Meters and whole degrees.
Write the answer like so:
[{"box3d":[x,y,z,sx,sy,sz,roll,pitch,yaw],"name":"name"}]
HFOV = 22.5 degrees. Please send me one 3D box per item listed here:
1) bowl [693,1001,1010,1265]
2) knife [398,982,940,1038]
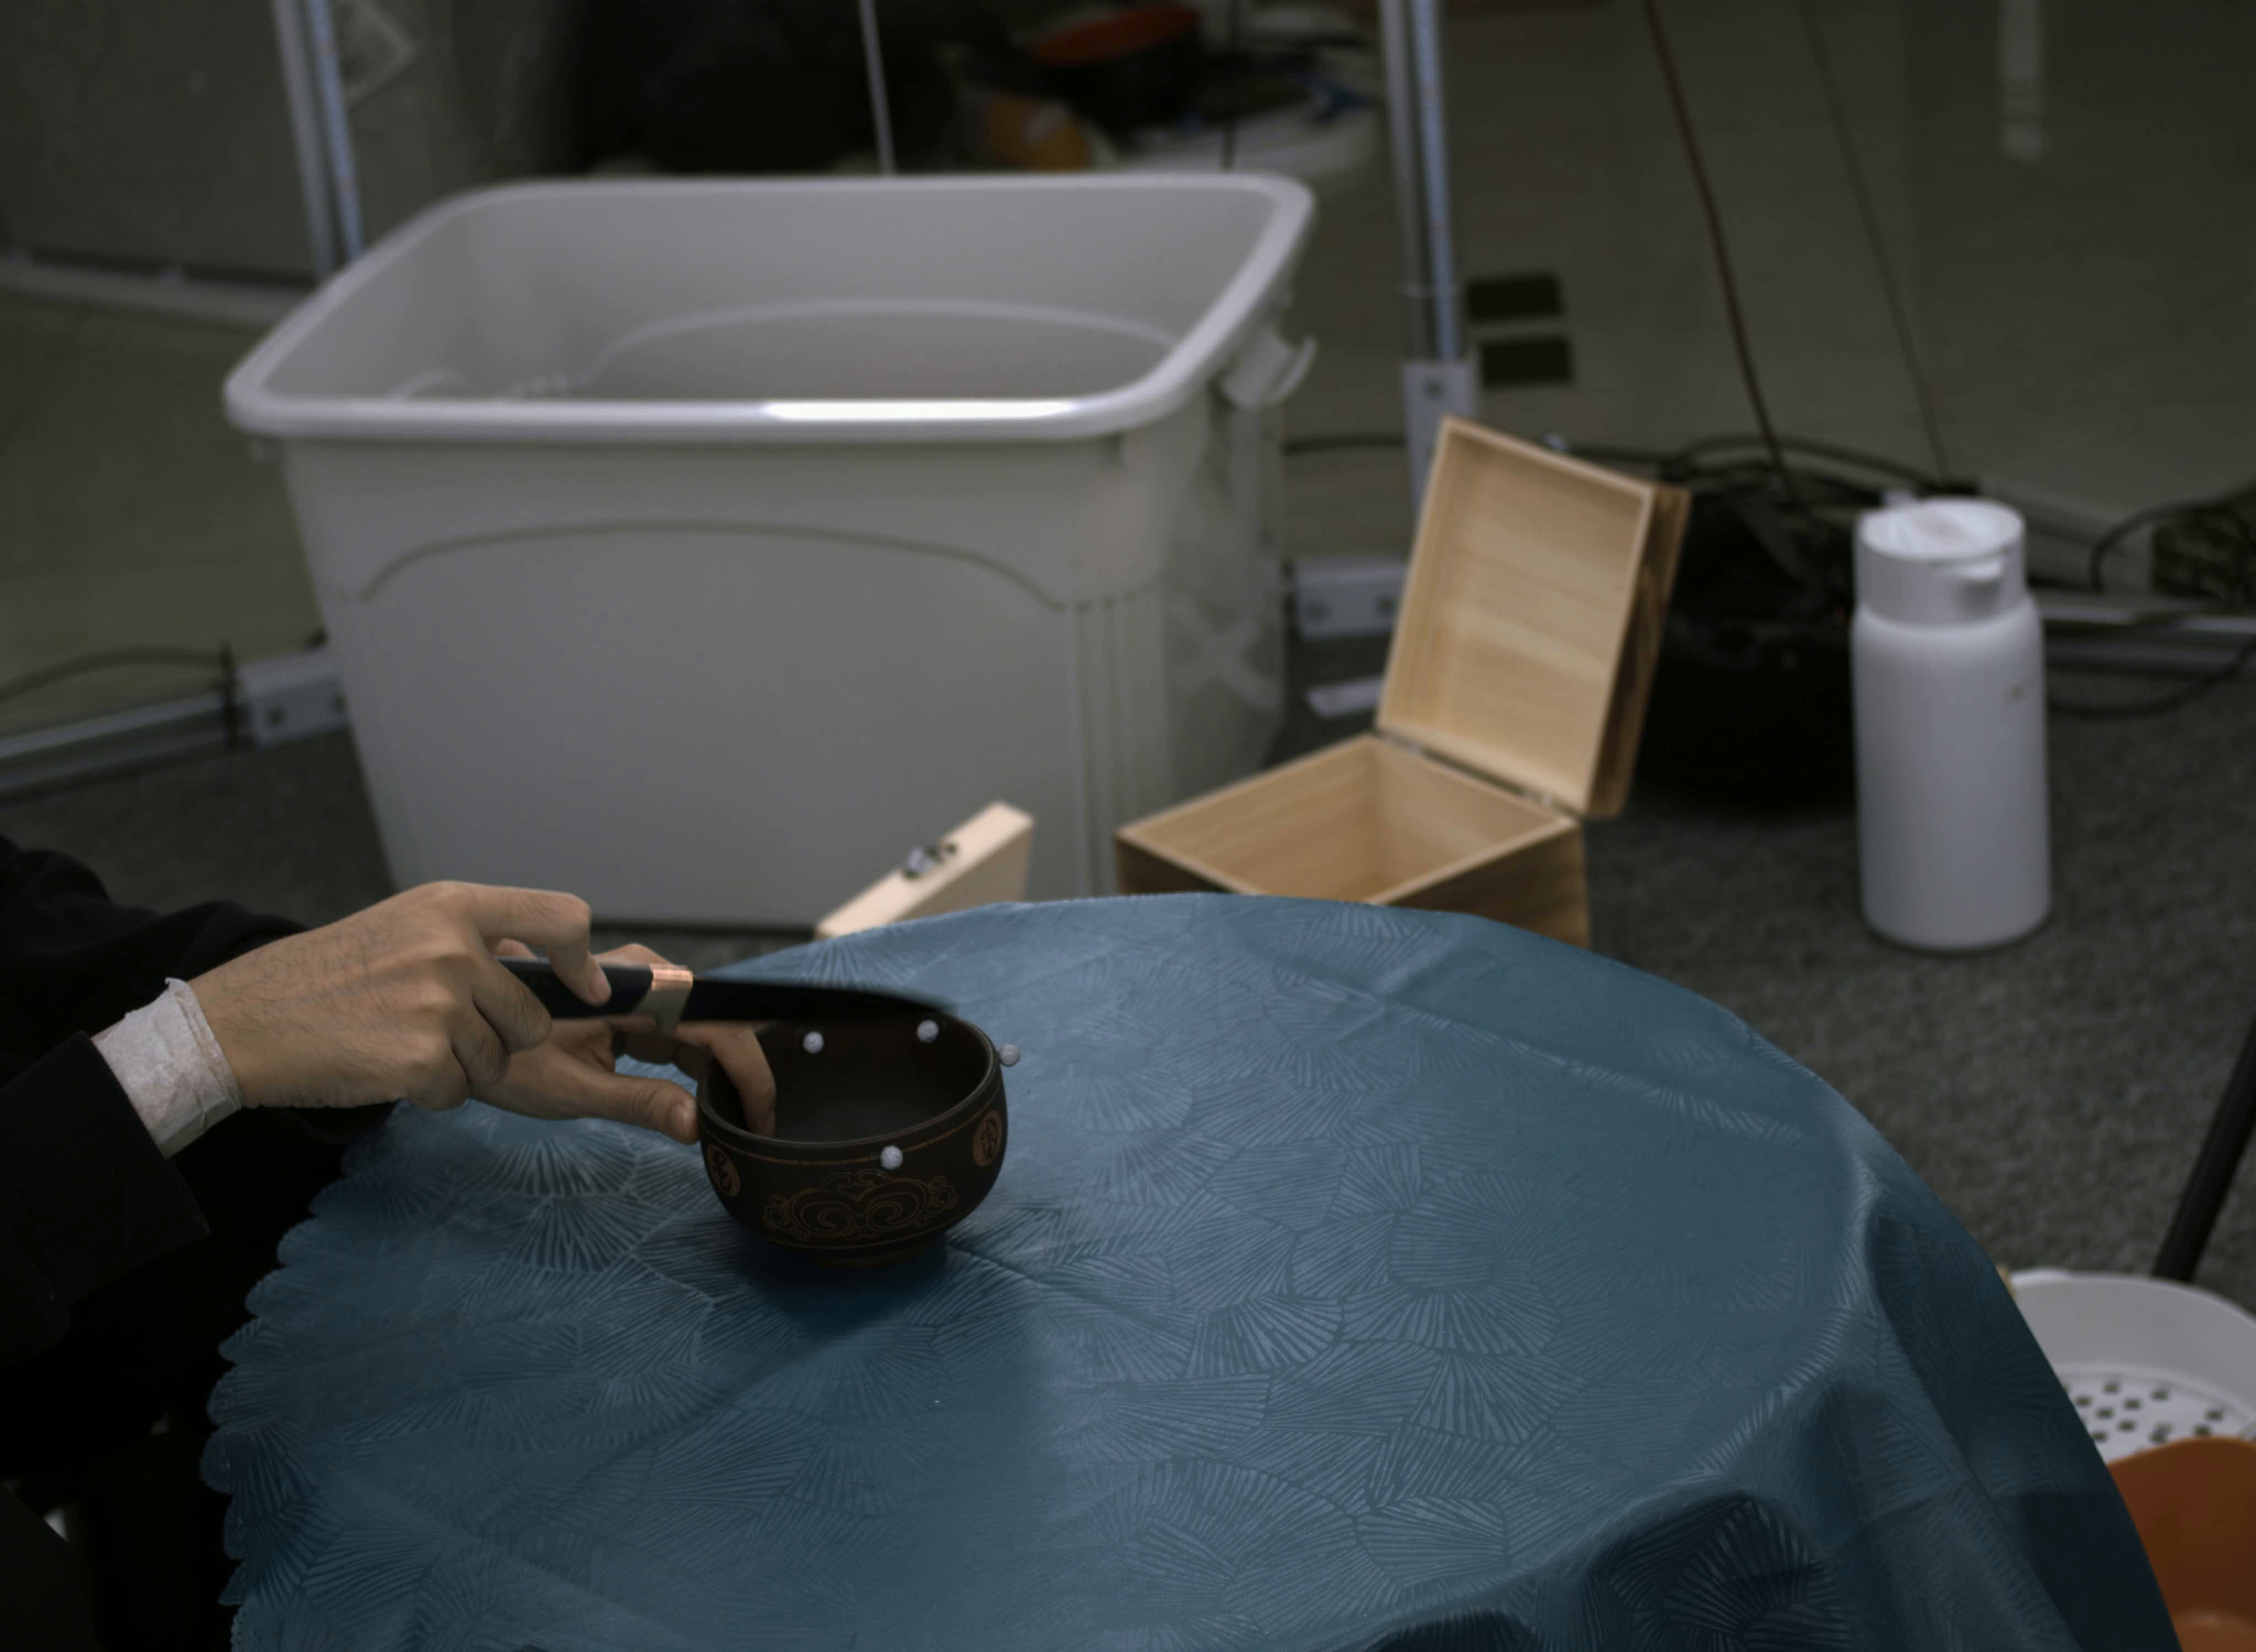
[{"box3d":[-0.101,0.121,2.120,0.118,0.071,0.116,-7,24,3],"name":"bowl"},{"box3d":[-0.164,0.070,2.069,0.225,0.017,0.026,5,-6,-31],"name":"knife"}]
